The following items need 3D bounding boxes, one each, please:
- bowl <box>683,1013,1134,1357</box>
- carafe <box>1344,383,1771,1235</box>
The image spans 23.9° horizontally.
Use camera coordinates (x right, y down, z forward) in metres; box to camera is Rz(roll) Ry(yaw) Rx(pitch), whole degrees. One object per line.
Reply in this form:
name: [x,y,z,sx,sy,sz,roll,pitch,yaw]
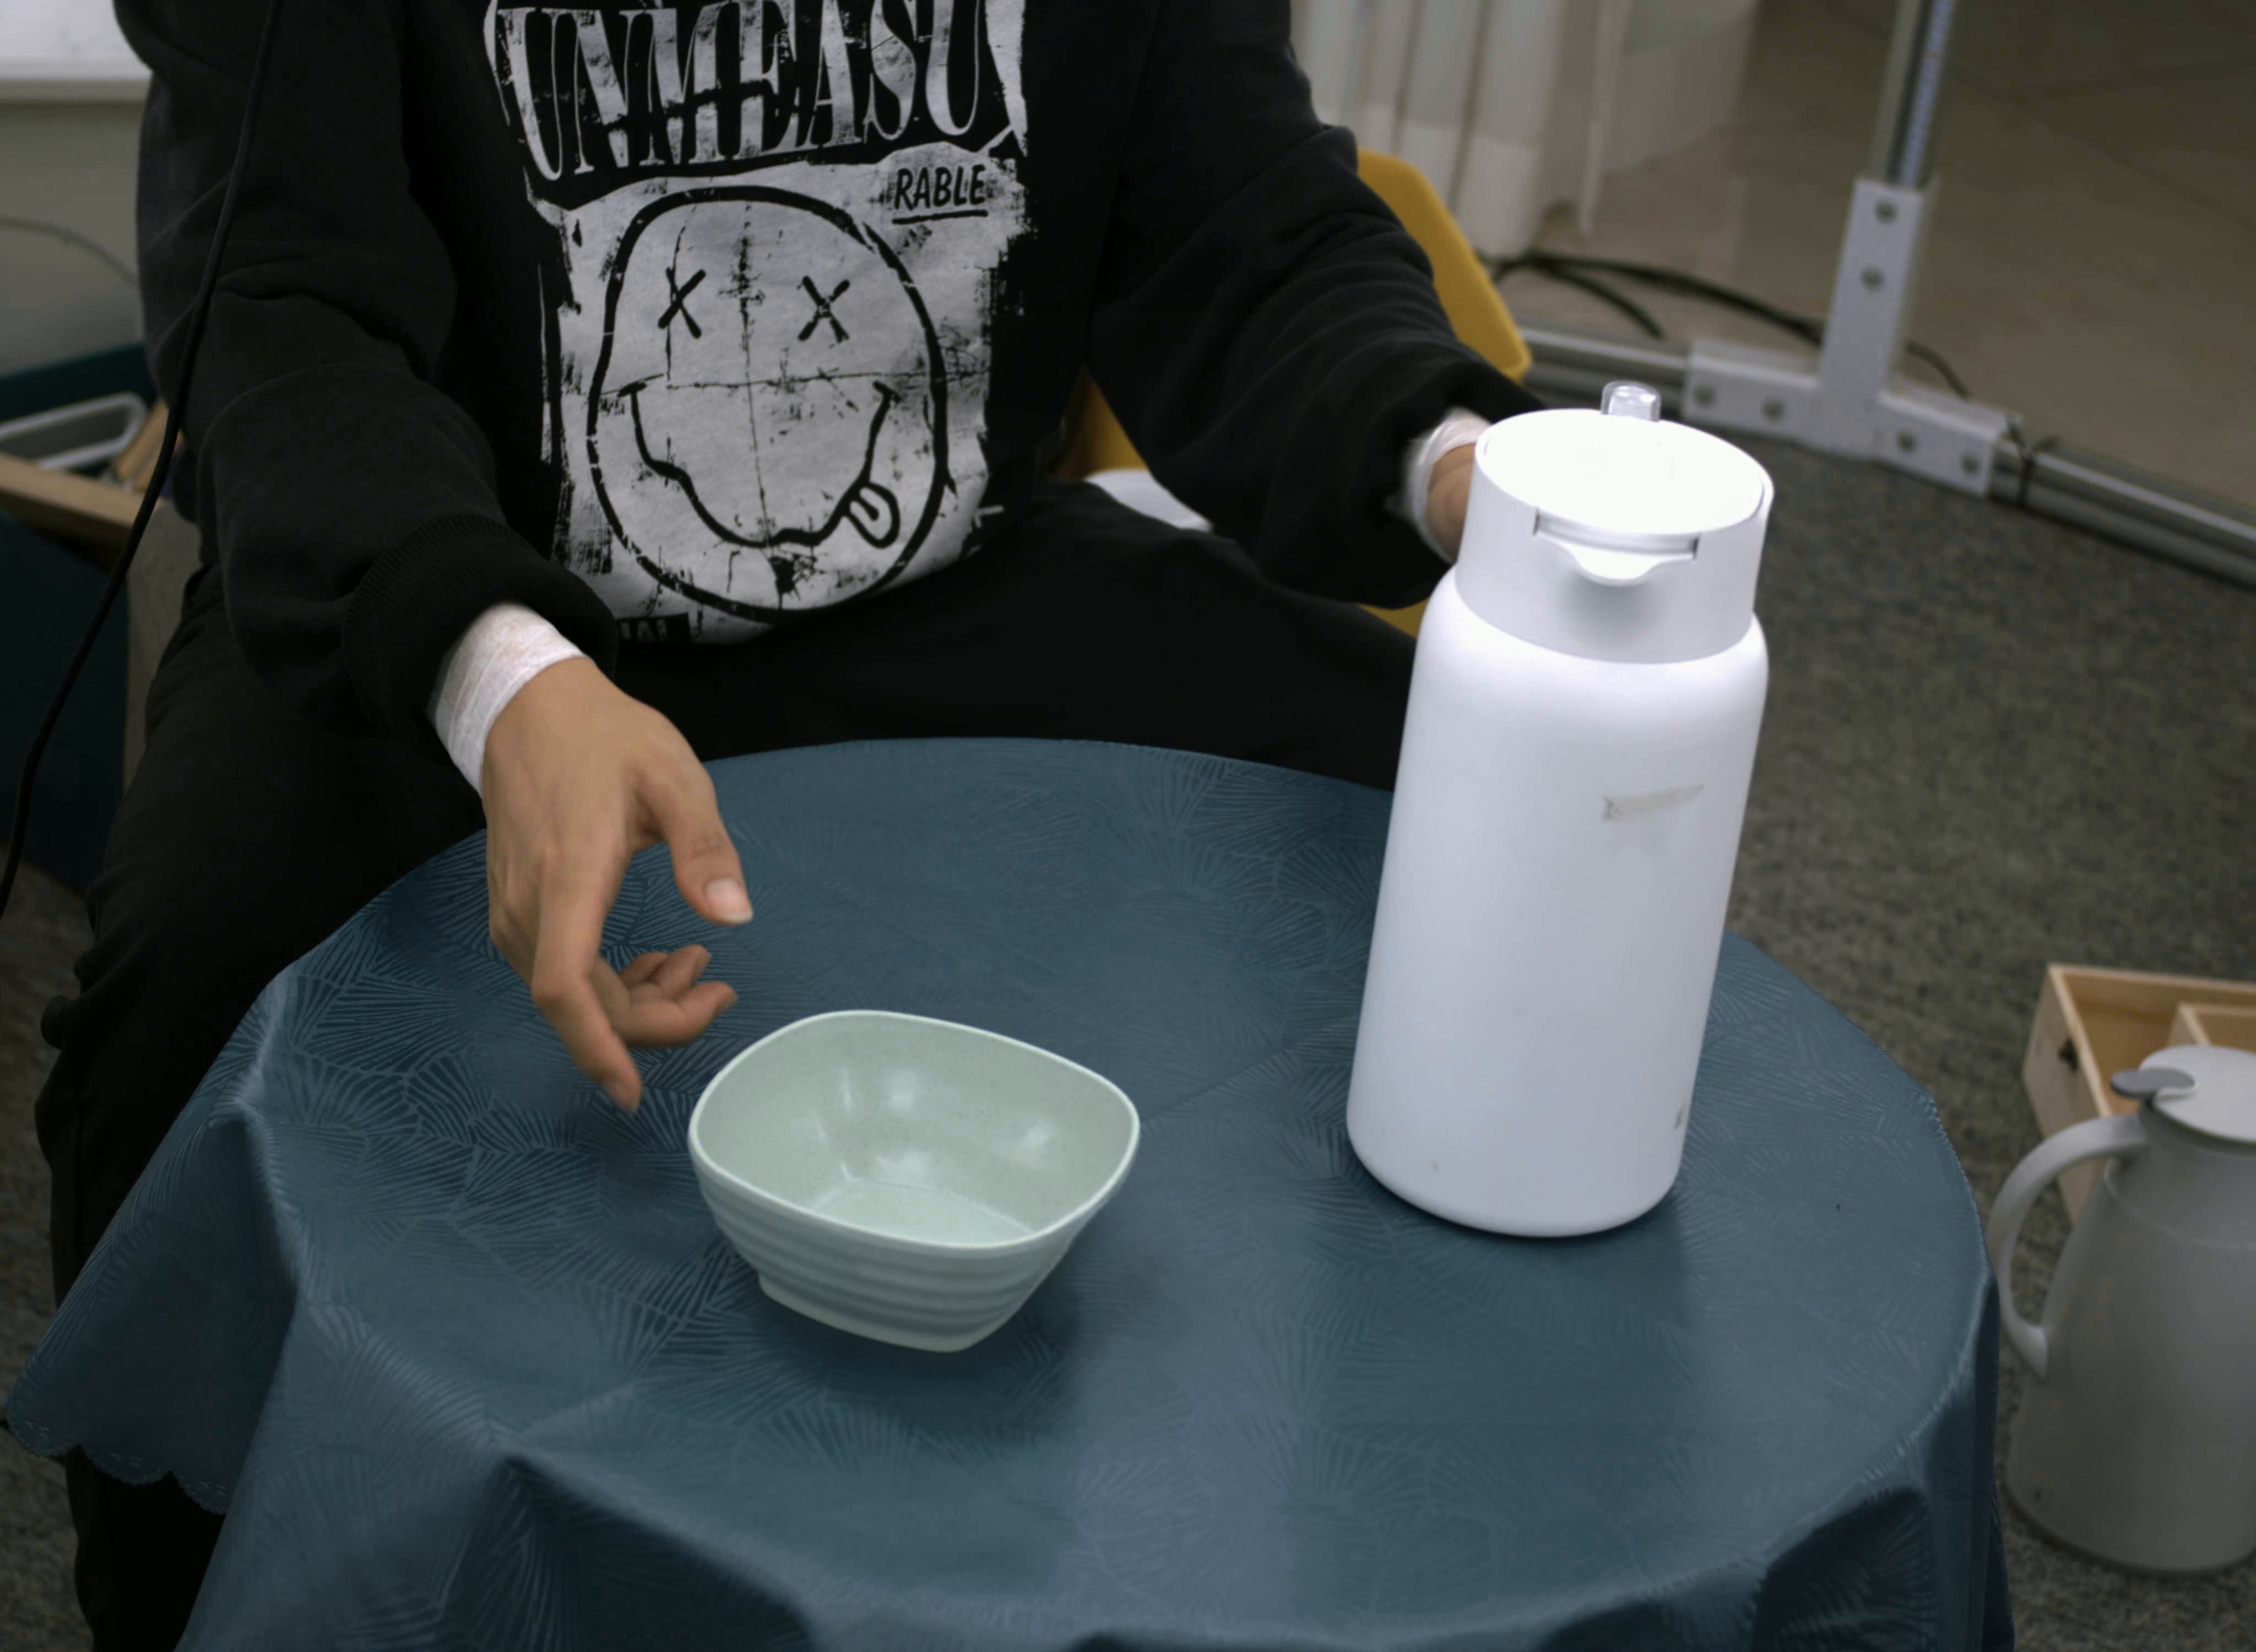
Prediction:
bowl: [-0.073,0.123,1.733,0.151,0.058,0.152,5,27,-3]
carafe: [0.147,-0.010,1.806,0.123,0.268,0.173,6,27,3]
